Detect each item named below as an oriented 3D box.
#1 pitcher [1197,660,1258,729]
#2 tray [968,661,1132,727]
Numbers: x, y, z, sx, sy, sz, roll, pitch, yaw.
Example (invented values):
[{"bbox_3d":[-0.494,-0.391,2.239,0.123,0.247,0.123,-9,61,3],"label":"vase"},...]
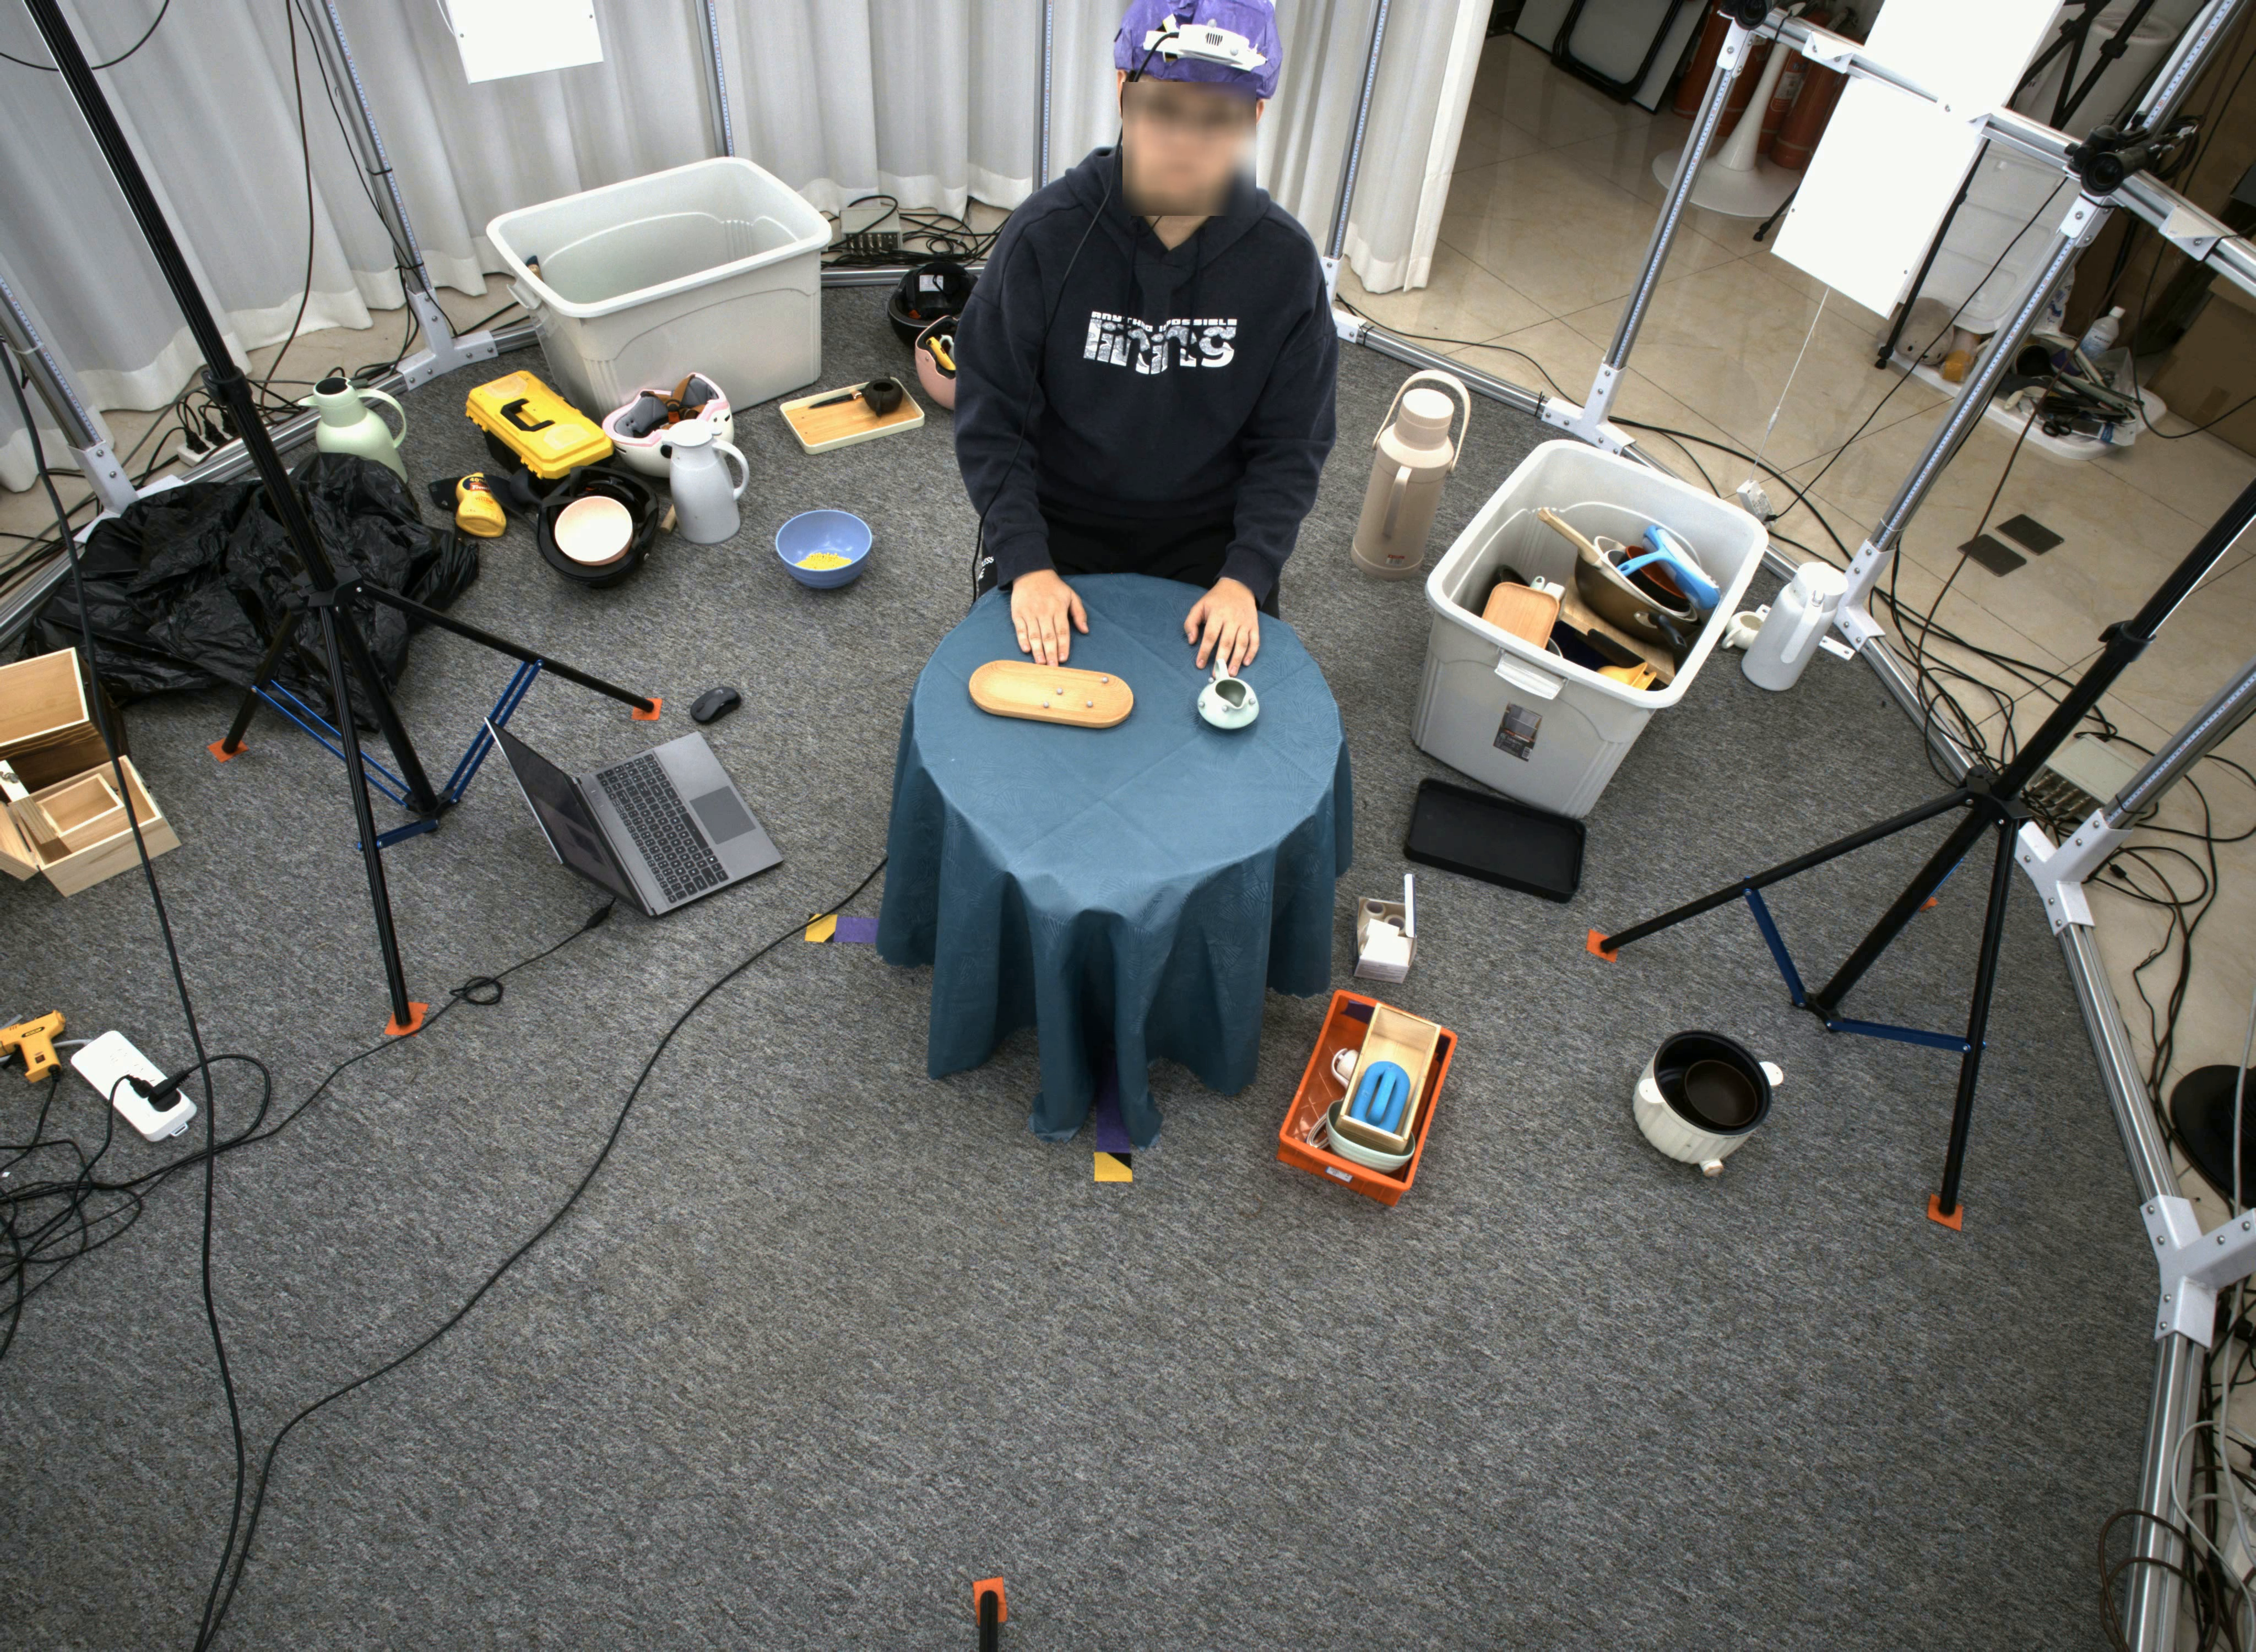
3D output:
[{"bbox_3d":[0.138,-0.183,1.799,0.086,0.059,0.111,-8,48,-13],"label":"pitcher"},{"bbox_3d":[-0.110,-0.186,1.808,0.231,0.020,0.104,6,48,3],"label":"tray"}]
